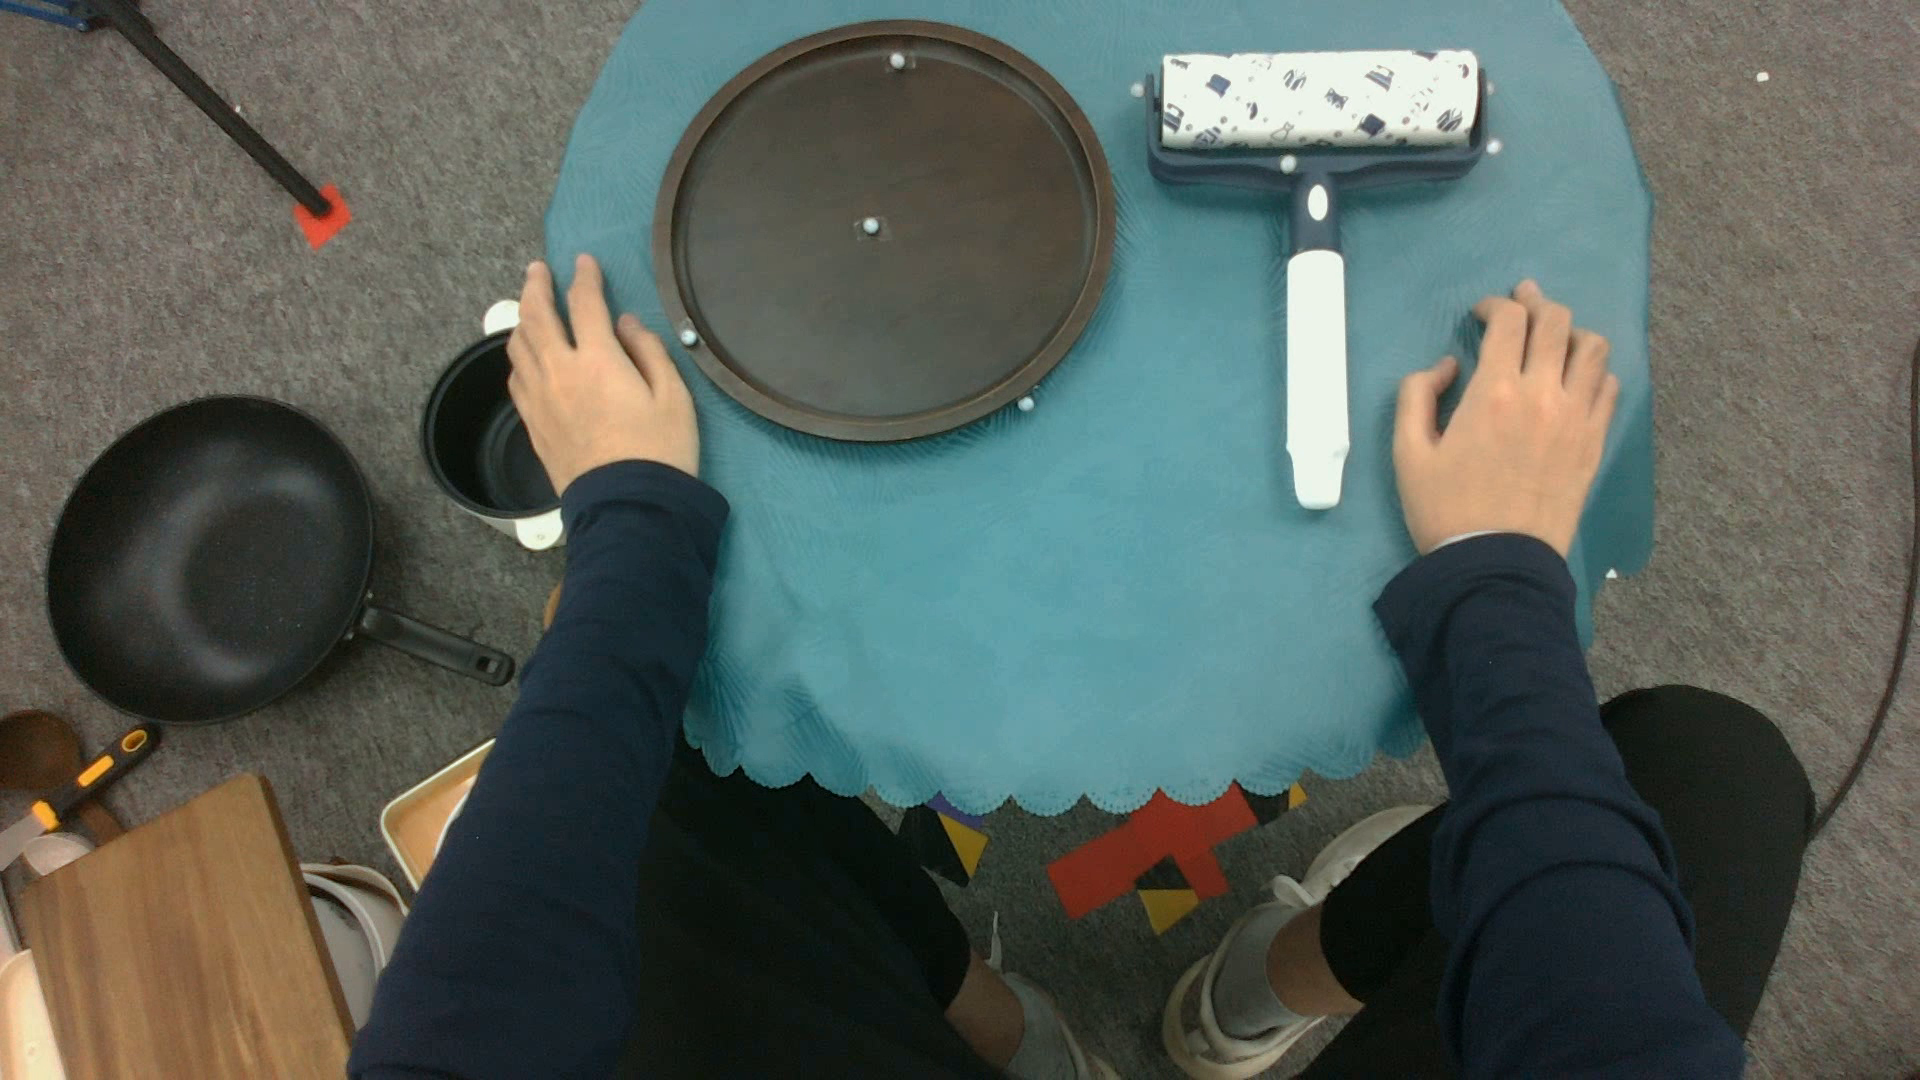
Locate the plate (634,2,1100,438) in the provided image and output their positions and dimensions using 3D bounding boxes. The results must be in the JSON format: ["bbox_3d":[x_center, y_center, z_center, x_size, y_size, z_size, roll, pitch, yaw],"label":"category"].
[{"bbox_3d":[-0.051,-0.174,0.750,0.255,0.029,0.255,-1,75,4],"label":"plate"}]

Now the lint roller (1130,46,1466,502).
[{"bbox_3d":[0.178,-0.143,0.717,0.176,0.050,0.247,0,77,3],"label":"lint roller"}]
